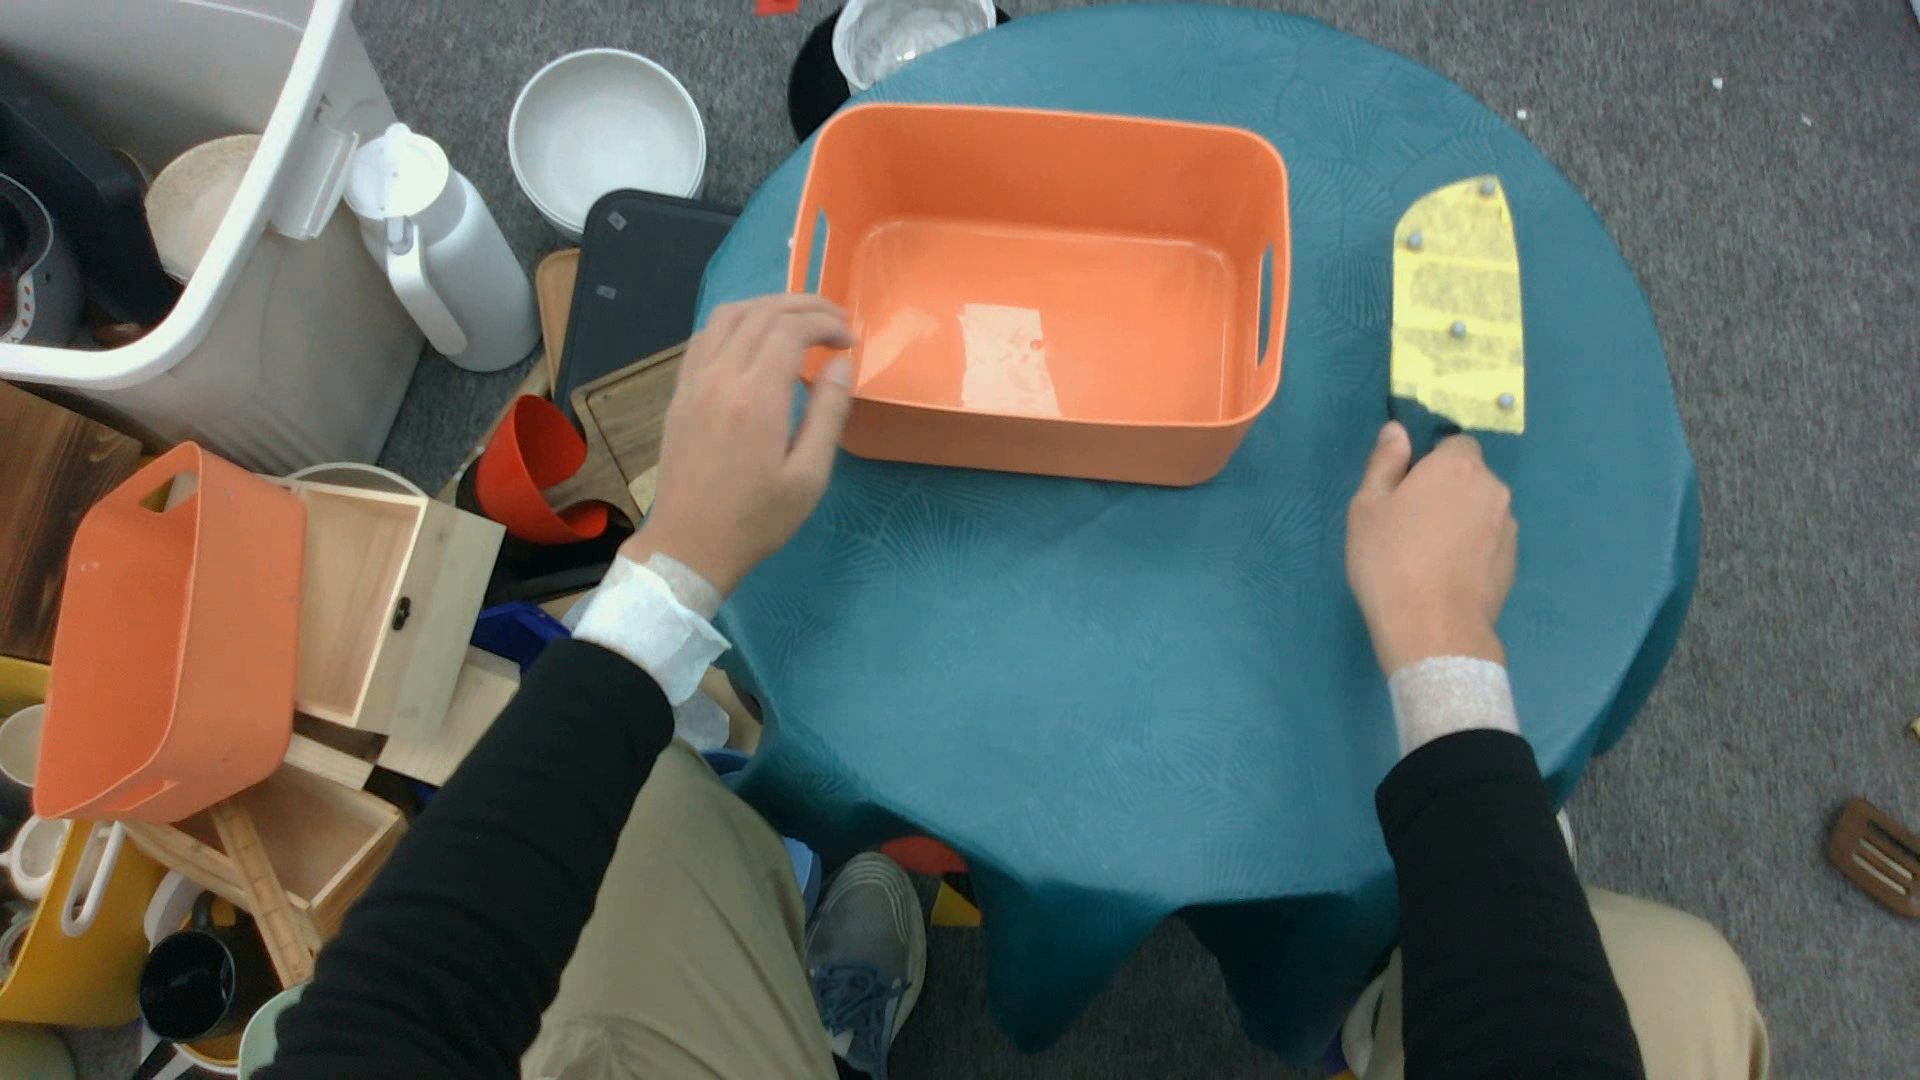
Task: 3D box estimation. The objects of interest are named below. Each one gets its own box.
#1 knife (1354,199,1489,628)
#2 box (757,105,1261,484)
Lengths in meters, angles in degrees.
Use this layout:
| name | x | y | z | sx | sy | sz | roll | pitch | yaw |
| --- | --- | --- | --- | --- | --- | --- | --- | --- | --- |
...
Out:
| name | x | y | z | sx | sy | sz | roll | pitch | yaw |
| --- | --- | --- | --- | --- | --- | --- | --- | --- | --- |
| knife | 0.261 | -0.082 | 0.786 | 0.081 | 0.027 | 0.290 | 10 | 65 | 6 |
| box | 0.031 | -0.136 | 0.802 | 0.273 | 0.102 | 0.200 | 5 | 66 | 3 |
